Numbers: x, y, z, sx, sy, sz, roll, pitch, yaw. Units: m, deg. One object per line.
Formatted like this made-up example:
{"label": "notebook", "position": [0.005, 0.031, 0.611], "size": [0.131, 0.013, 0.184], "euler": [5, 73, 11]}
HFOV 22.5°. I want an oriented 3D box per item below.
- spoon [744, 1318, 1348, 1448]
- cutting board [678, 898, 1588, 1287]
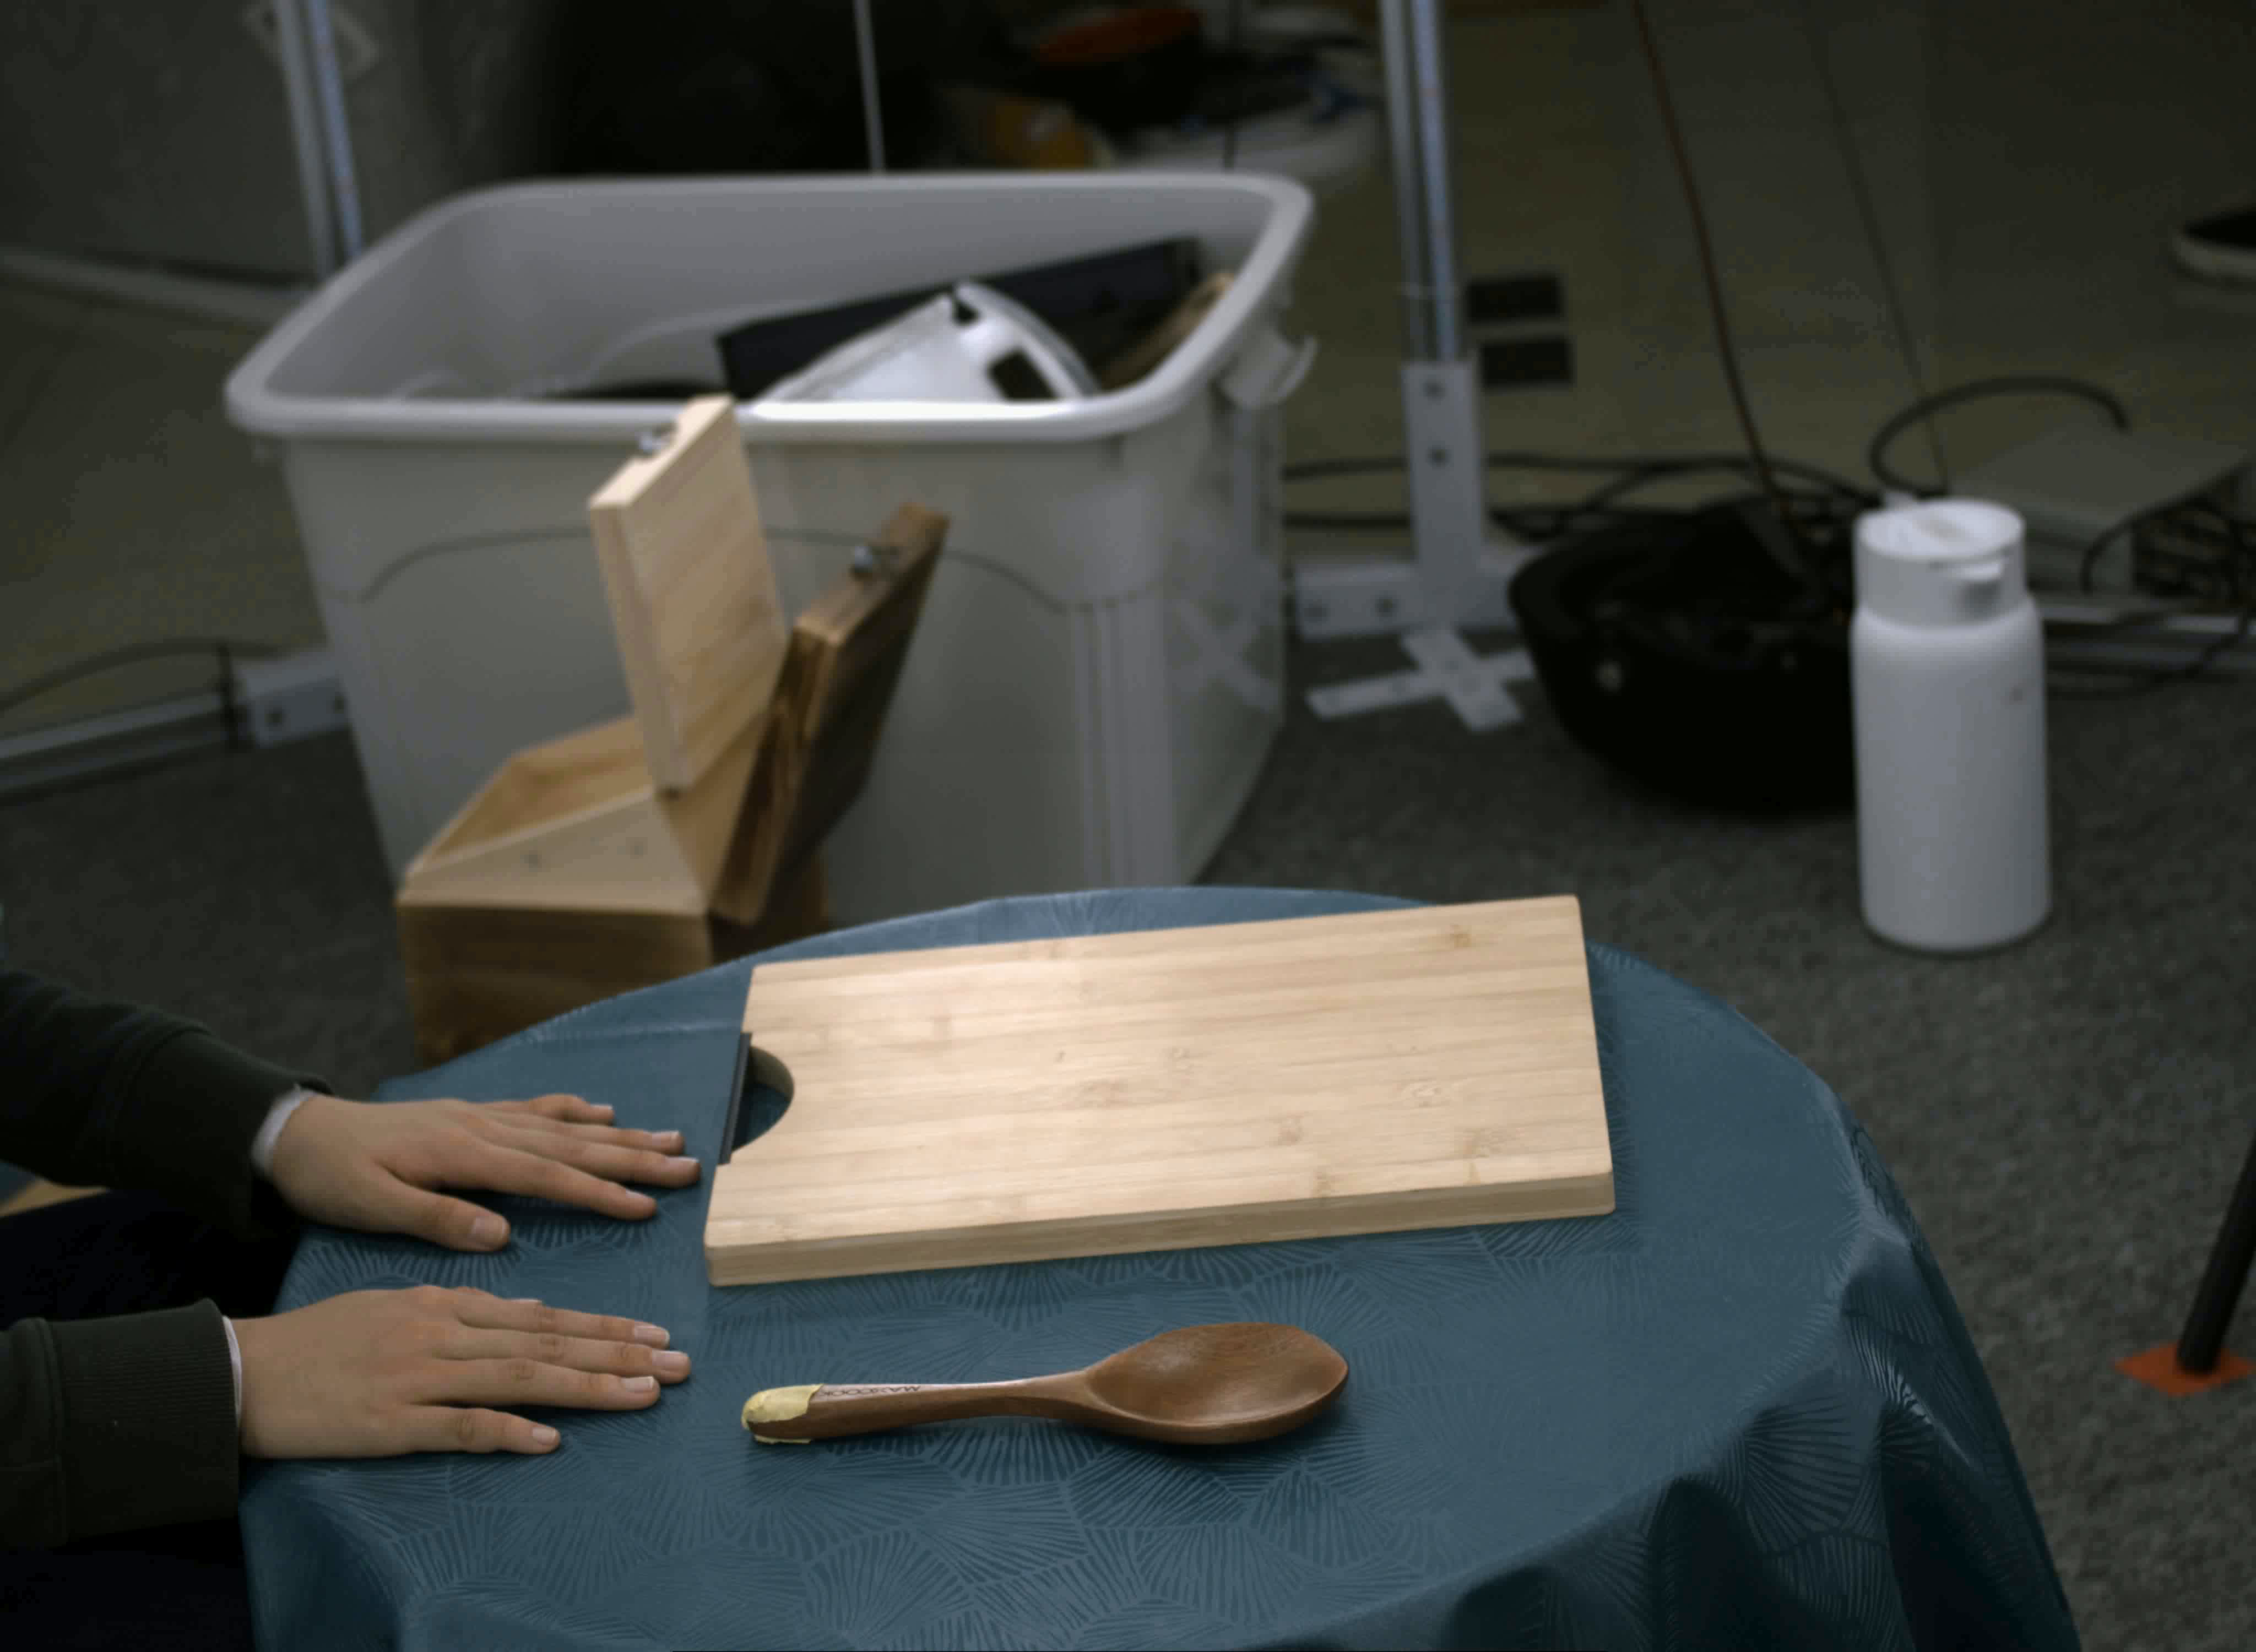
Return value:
{"label": "spoon", "position": [-0.029, 0.202, 2.004], "size": [0.215, 0.017, 0.074], "euler": [-3, 27, 6]}
{"label": "cutting board", "position": [0.007, 0.102, 2.212], "size": [0.348, 0.024, 0.247], "euler": [-5, 24, 3]}
